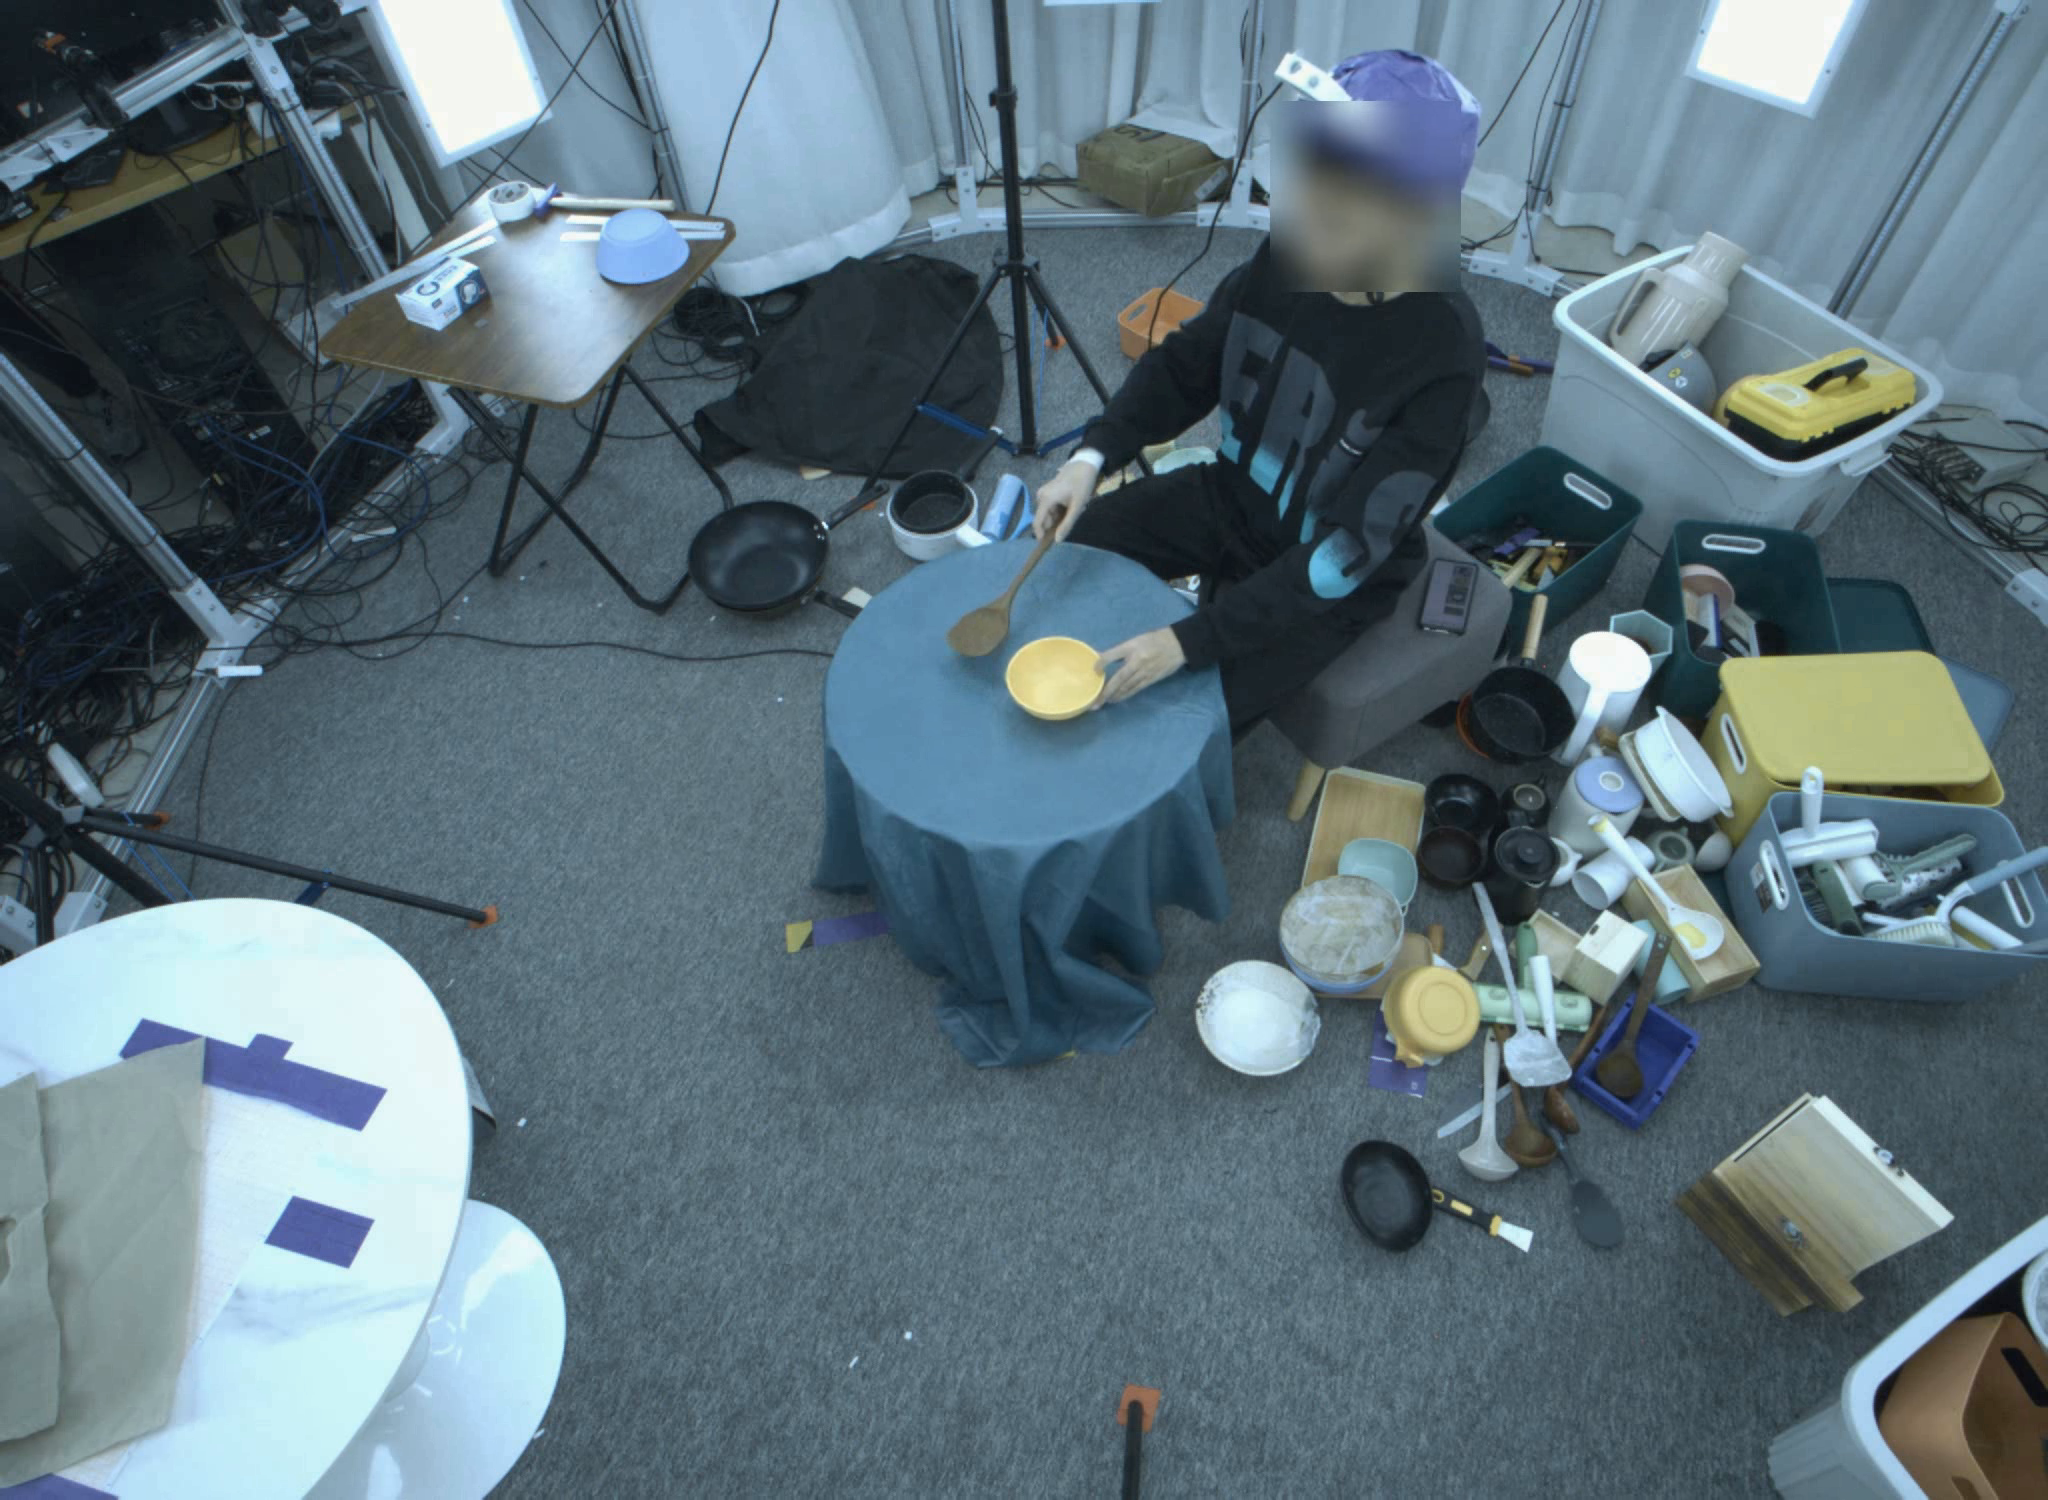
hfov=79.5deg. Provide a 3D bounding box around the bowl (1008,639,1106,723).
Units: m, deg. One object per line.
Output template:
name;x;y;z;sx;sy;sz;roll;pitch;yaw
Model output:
bowl;0.048;-0.090;1.826;0.145;0.060;0.144;1;57;0

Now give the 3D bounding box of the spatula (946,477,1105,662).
spatula;0.015;-0.288;1.898;0.094;0.016;0.386;24;70;33
